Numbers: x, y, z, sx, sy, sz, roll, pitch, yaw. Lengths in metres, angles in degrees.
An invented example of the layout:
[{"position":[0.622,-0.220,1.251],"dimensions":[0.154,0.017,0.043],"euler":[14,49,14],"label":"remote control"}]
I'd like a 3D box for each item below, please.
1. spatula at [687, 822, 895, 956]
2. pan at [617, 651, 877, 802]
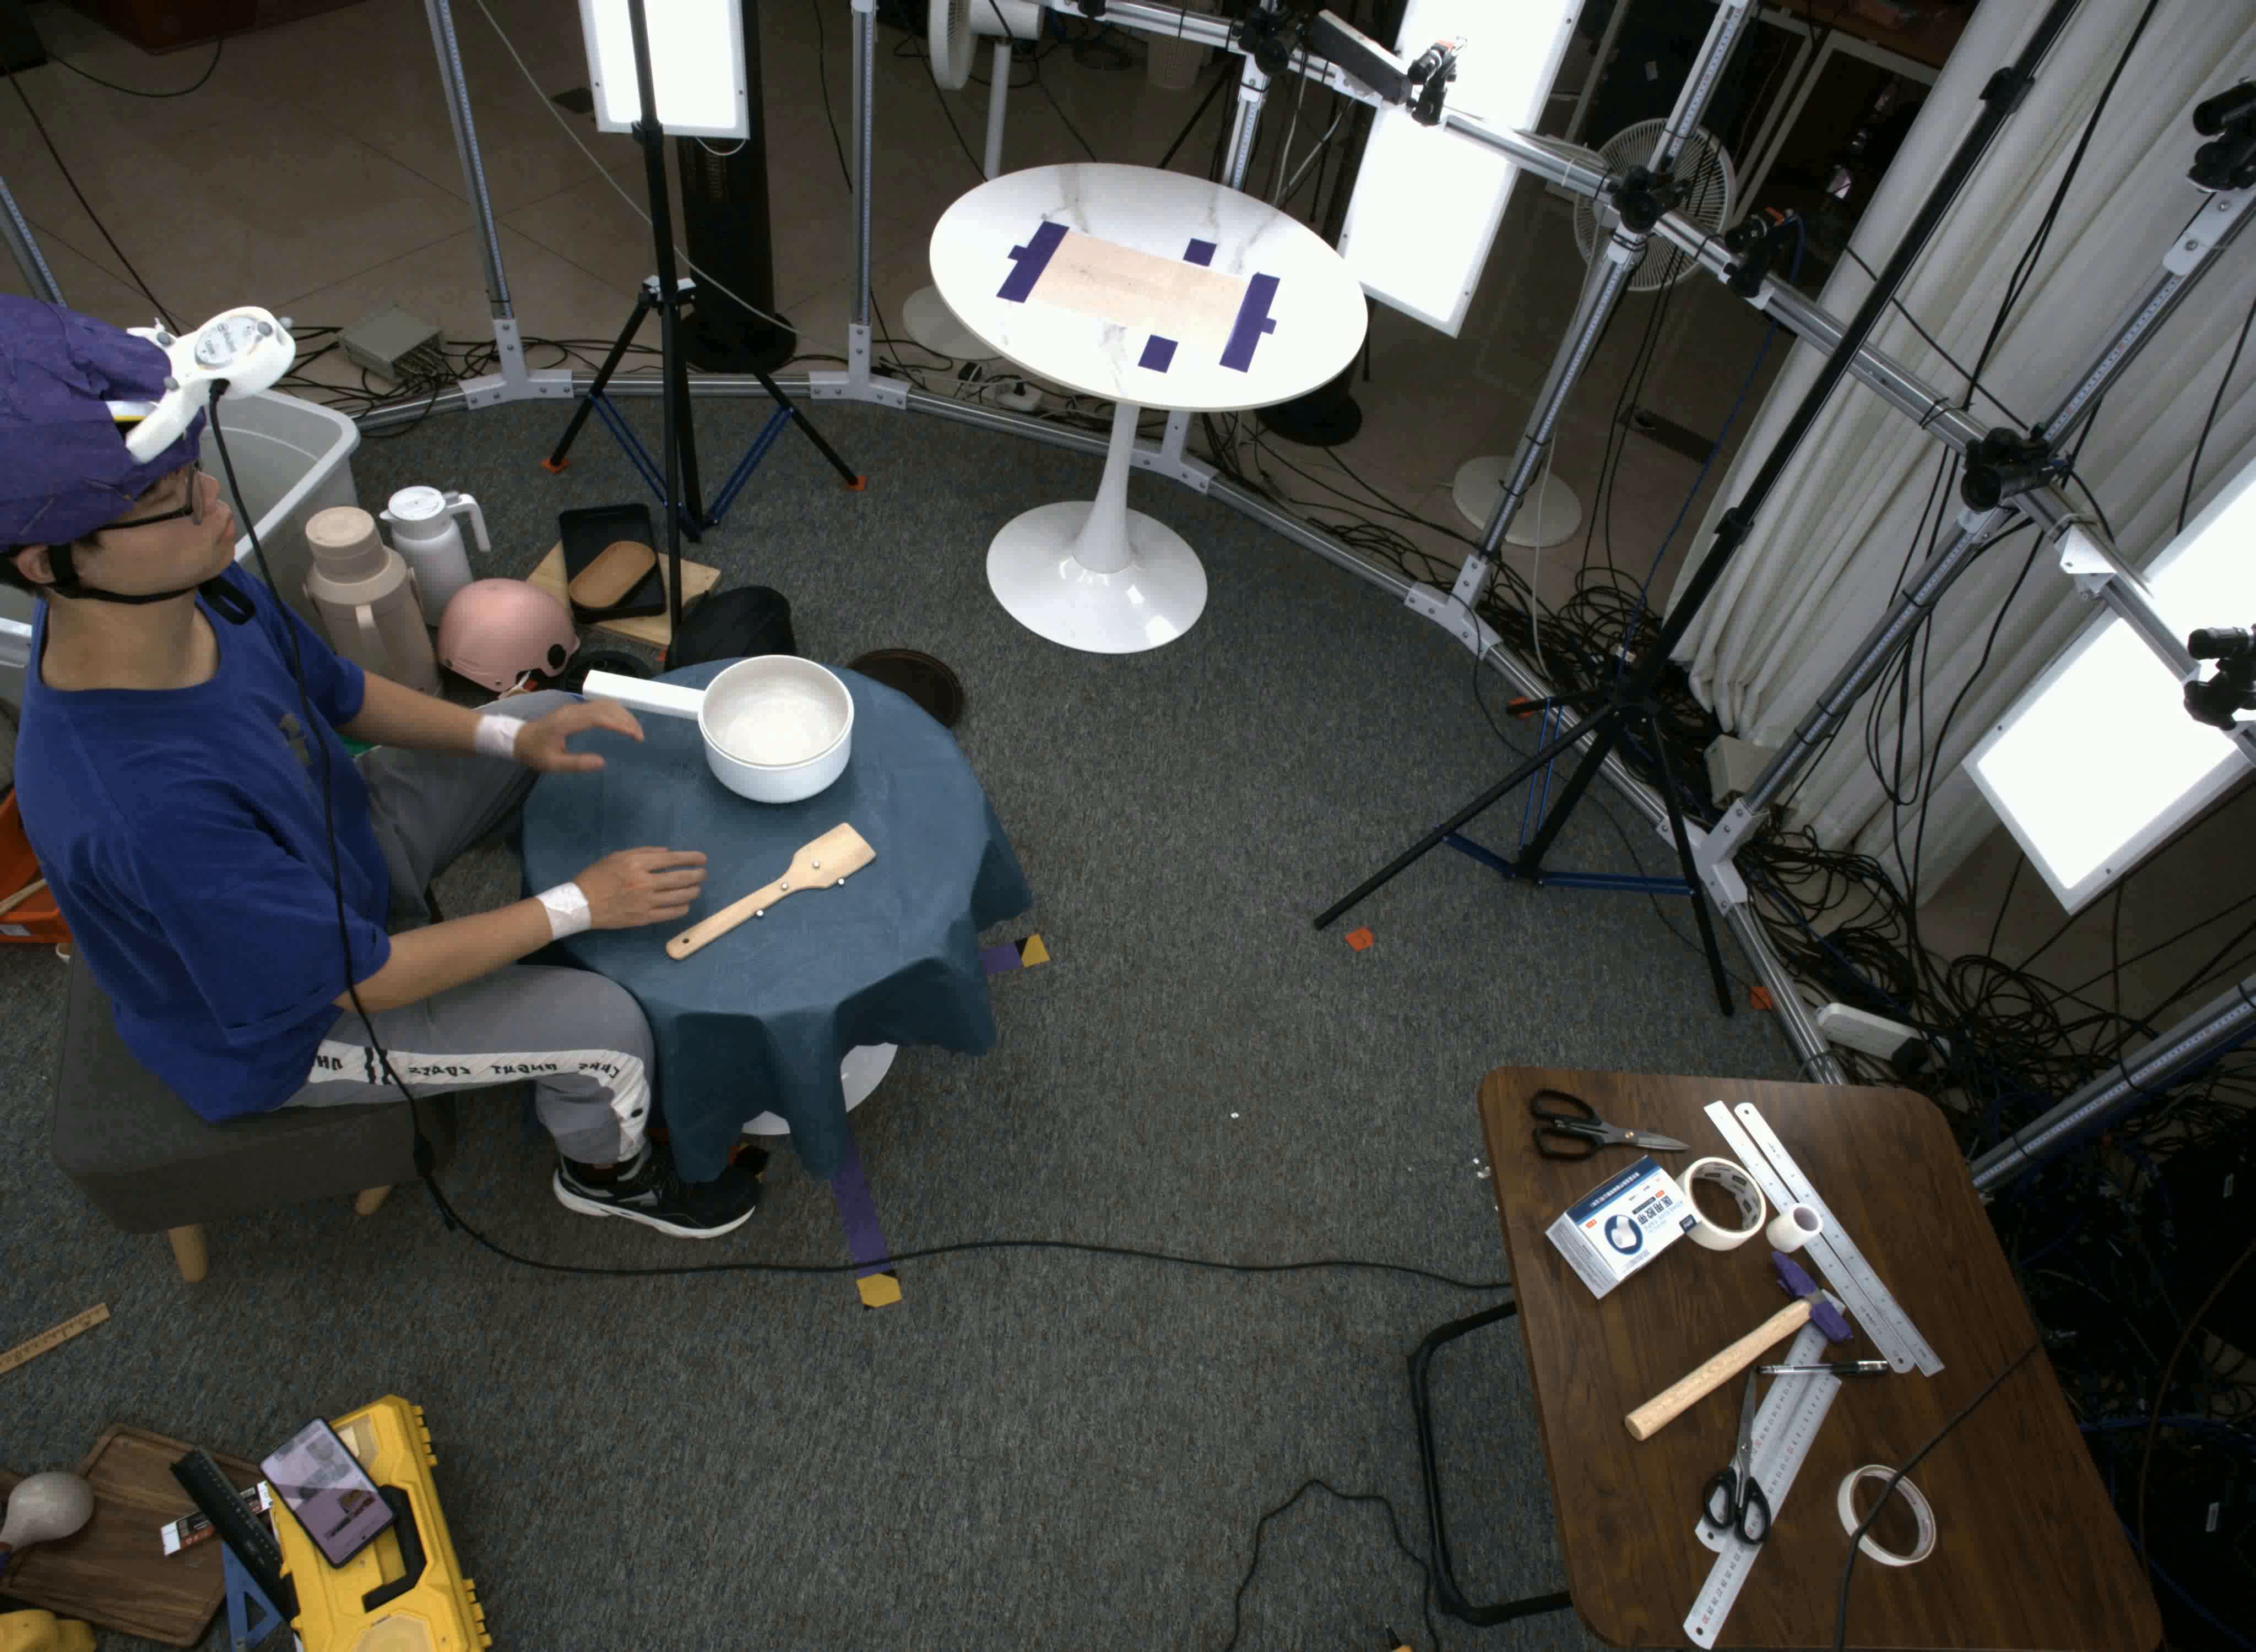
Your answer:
[{"position":[-0.434,0.084,1.663],"dimensions":[0.294,0.011,0.071],"euler":[-33,69,-32],"label":"spatula"},{"position":[-0.518,-0.144,1.755],"dimensions":[0.353,0.104,0.198],"euler":[11,54,-6],"label":"pan"}]
